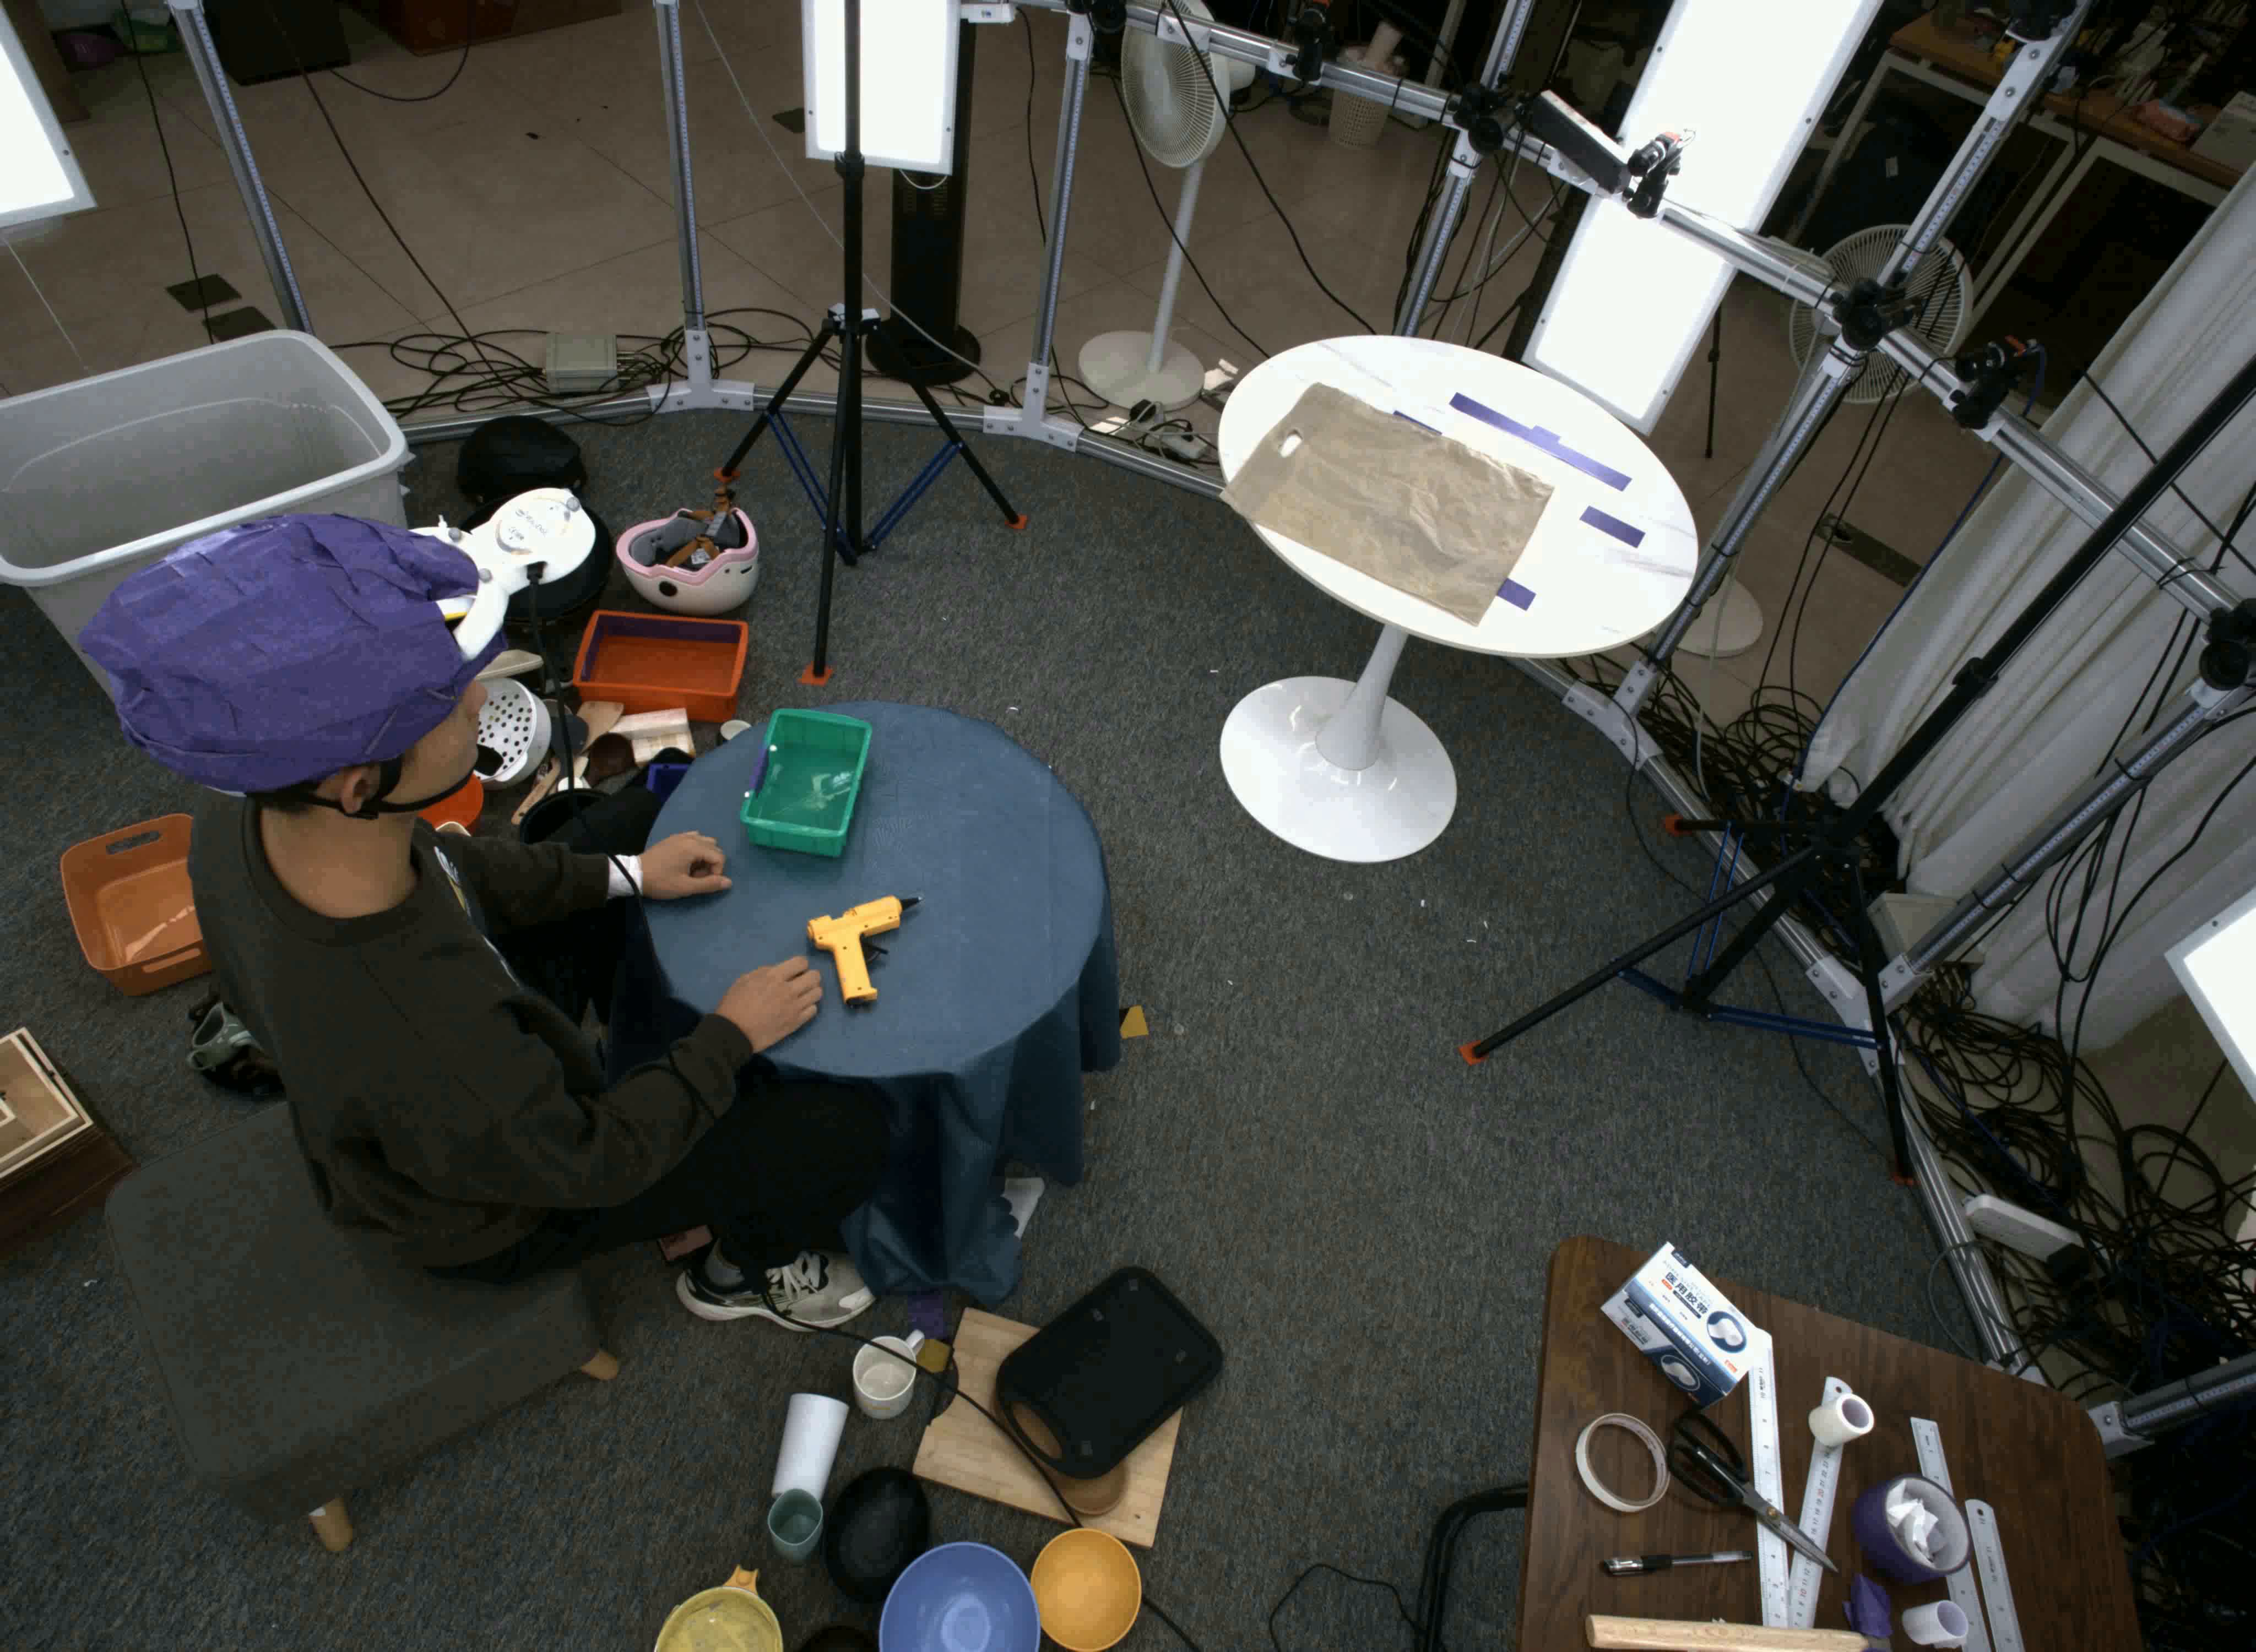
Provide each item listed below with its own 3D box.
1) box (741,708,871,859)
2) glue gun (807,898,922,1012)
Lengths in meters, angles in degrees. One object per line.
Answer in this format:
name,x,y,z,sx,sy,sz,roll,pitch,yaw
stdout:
box,-0.423,-0.054,1.719,0.138,0.067,0.207,7,55,-6
glue gun,-0.307,0.148,1.623,0.152,0.031,0.130,-22,64,-26
